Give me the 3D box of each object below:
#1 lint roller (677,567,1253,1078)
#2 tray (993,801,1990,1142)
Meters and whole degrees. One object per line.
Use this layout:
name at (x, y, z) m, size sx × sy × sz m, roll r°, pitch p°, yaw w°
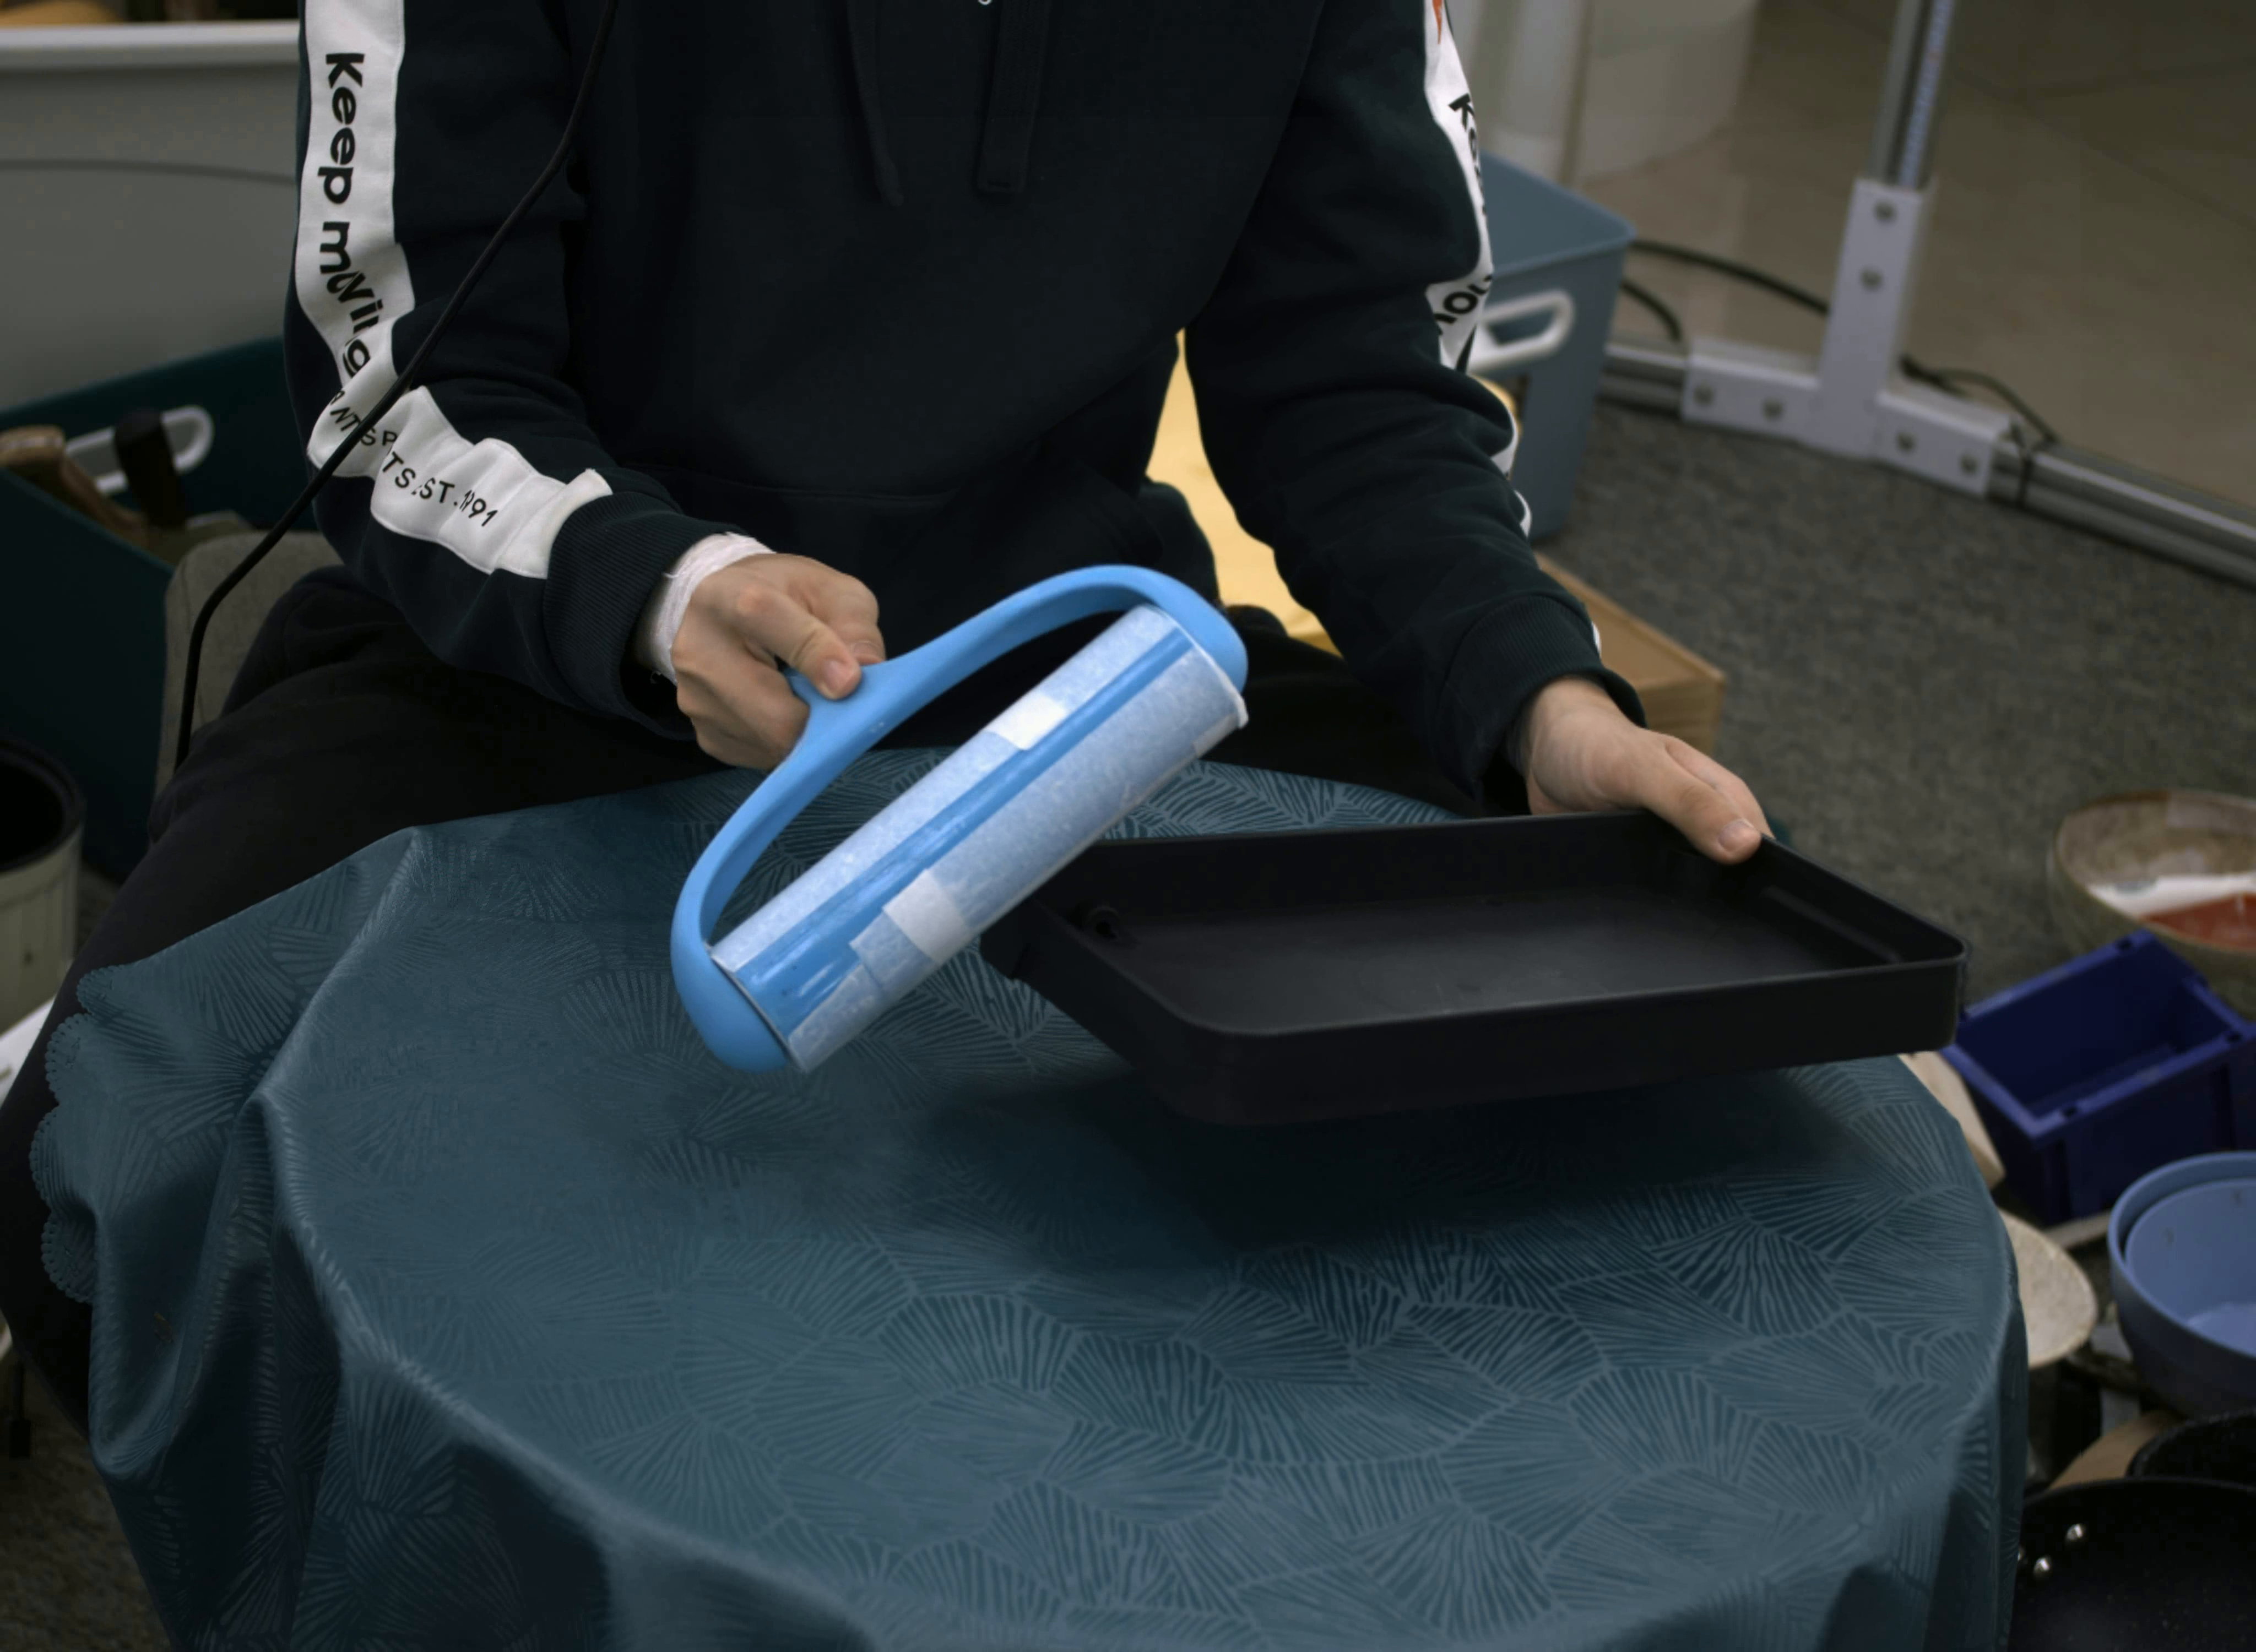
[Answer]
lint roller at (-0.084, -0.022, 1.830) m, size 0.229 × 0.067 × 0.182 m, roll -42°, pitch 44°, yaw -11°
tray at (0.125, 0.046, 1.843) m, size 0.316 × 0.037 × 0.186 m, roll -6°, pitch 20°, yaw -29°
